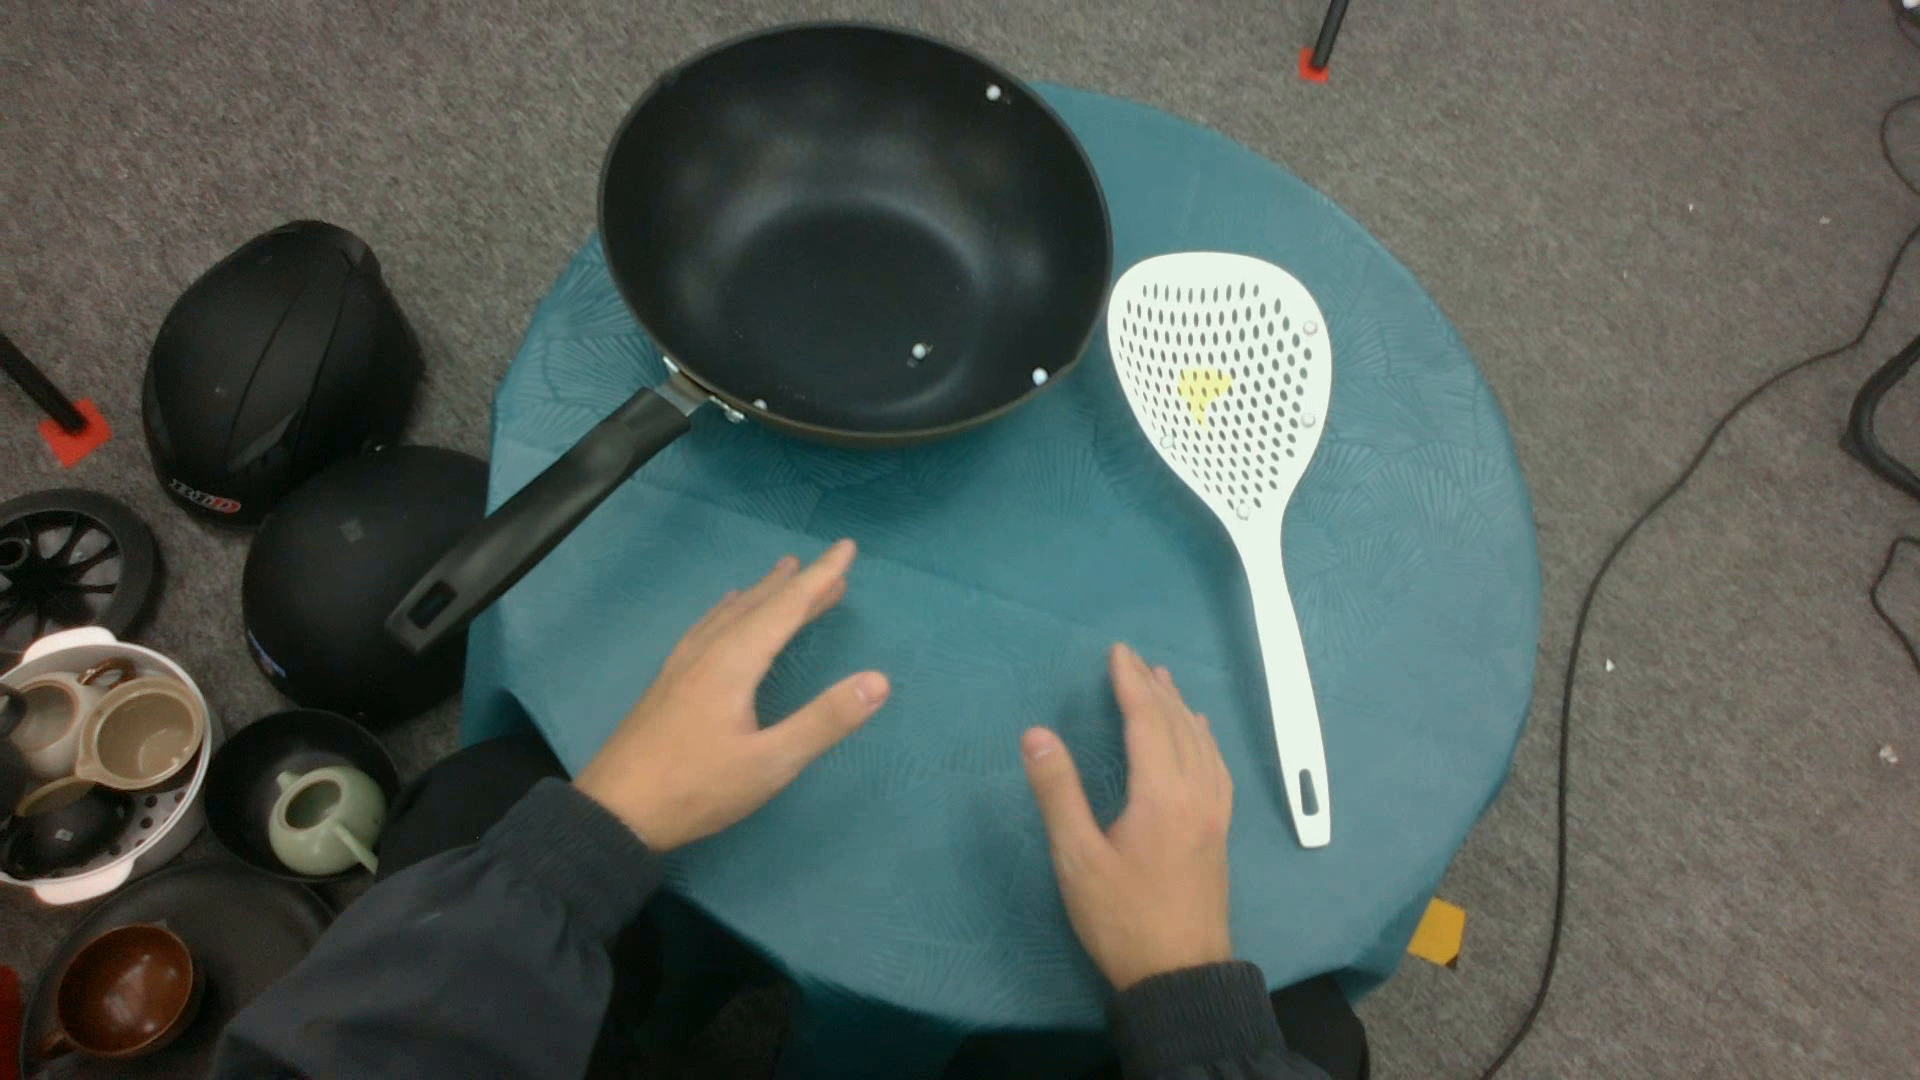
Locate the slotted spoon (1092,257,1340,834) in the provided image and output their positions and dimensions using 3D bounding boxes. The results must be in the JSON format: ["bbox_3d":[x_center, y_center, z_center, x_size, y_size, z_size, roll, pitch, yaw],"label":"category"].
[{"bbox_3d":[0.160,-0.009,0.780,0.137,0.050,0.349,-5,63,-11],"label":"slotted spoon"}]

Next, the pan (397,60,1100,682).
[{"bbox_3d":[-0.116,-0.083,0.762,0.288,0.086,0.465,33,64,11],"label":"pan"}]
